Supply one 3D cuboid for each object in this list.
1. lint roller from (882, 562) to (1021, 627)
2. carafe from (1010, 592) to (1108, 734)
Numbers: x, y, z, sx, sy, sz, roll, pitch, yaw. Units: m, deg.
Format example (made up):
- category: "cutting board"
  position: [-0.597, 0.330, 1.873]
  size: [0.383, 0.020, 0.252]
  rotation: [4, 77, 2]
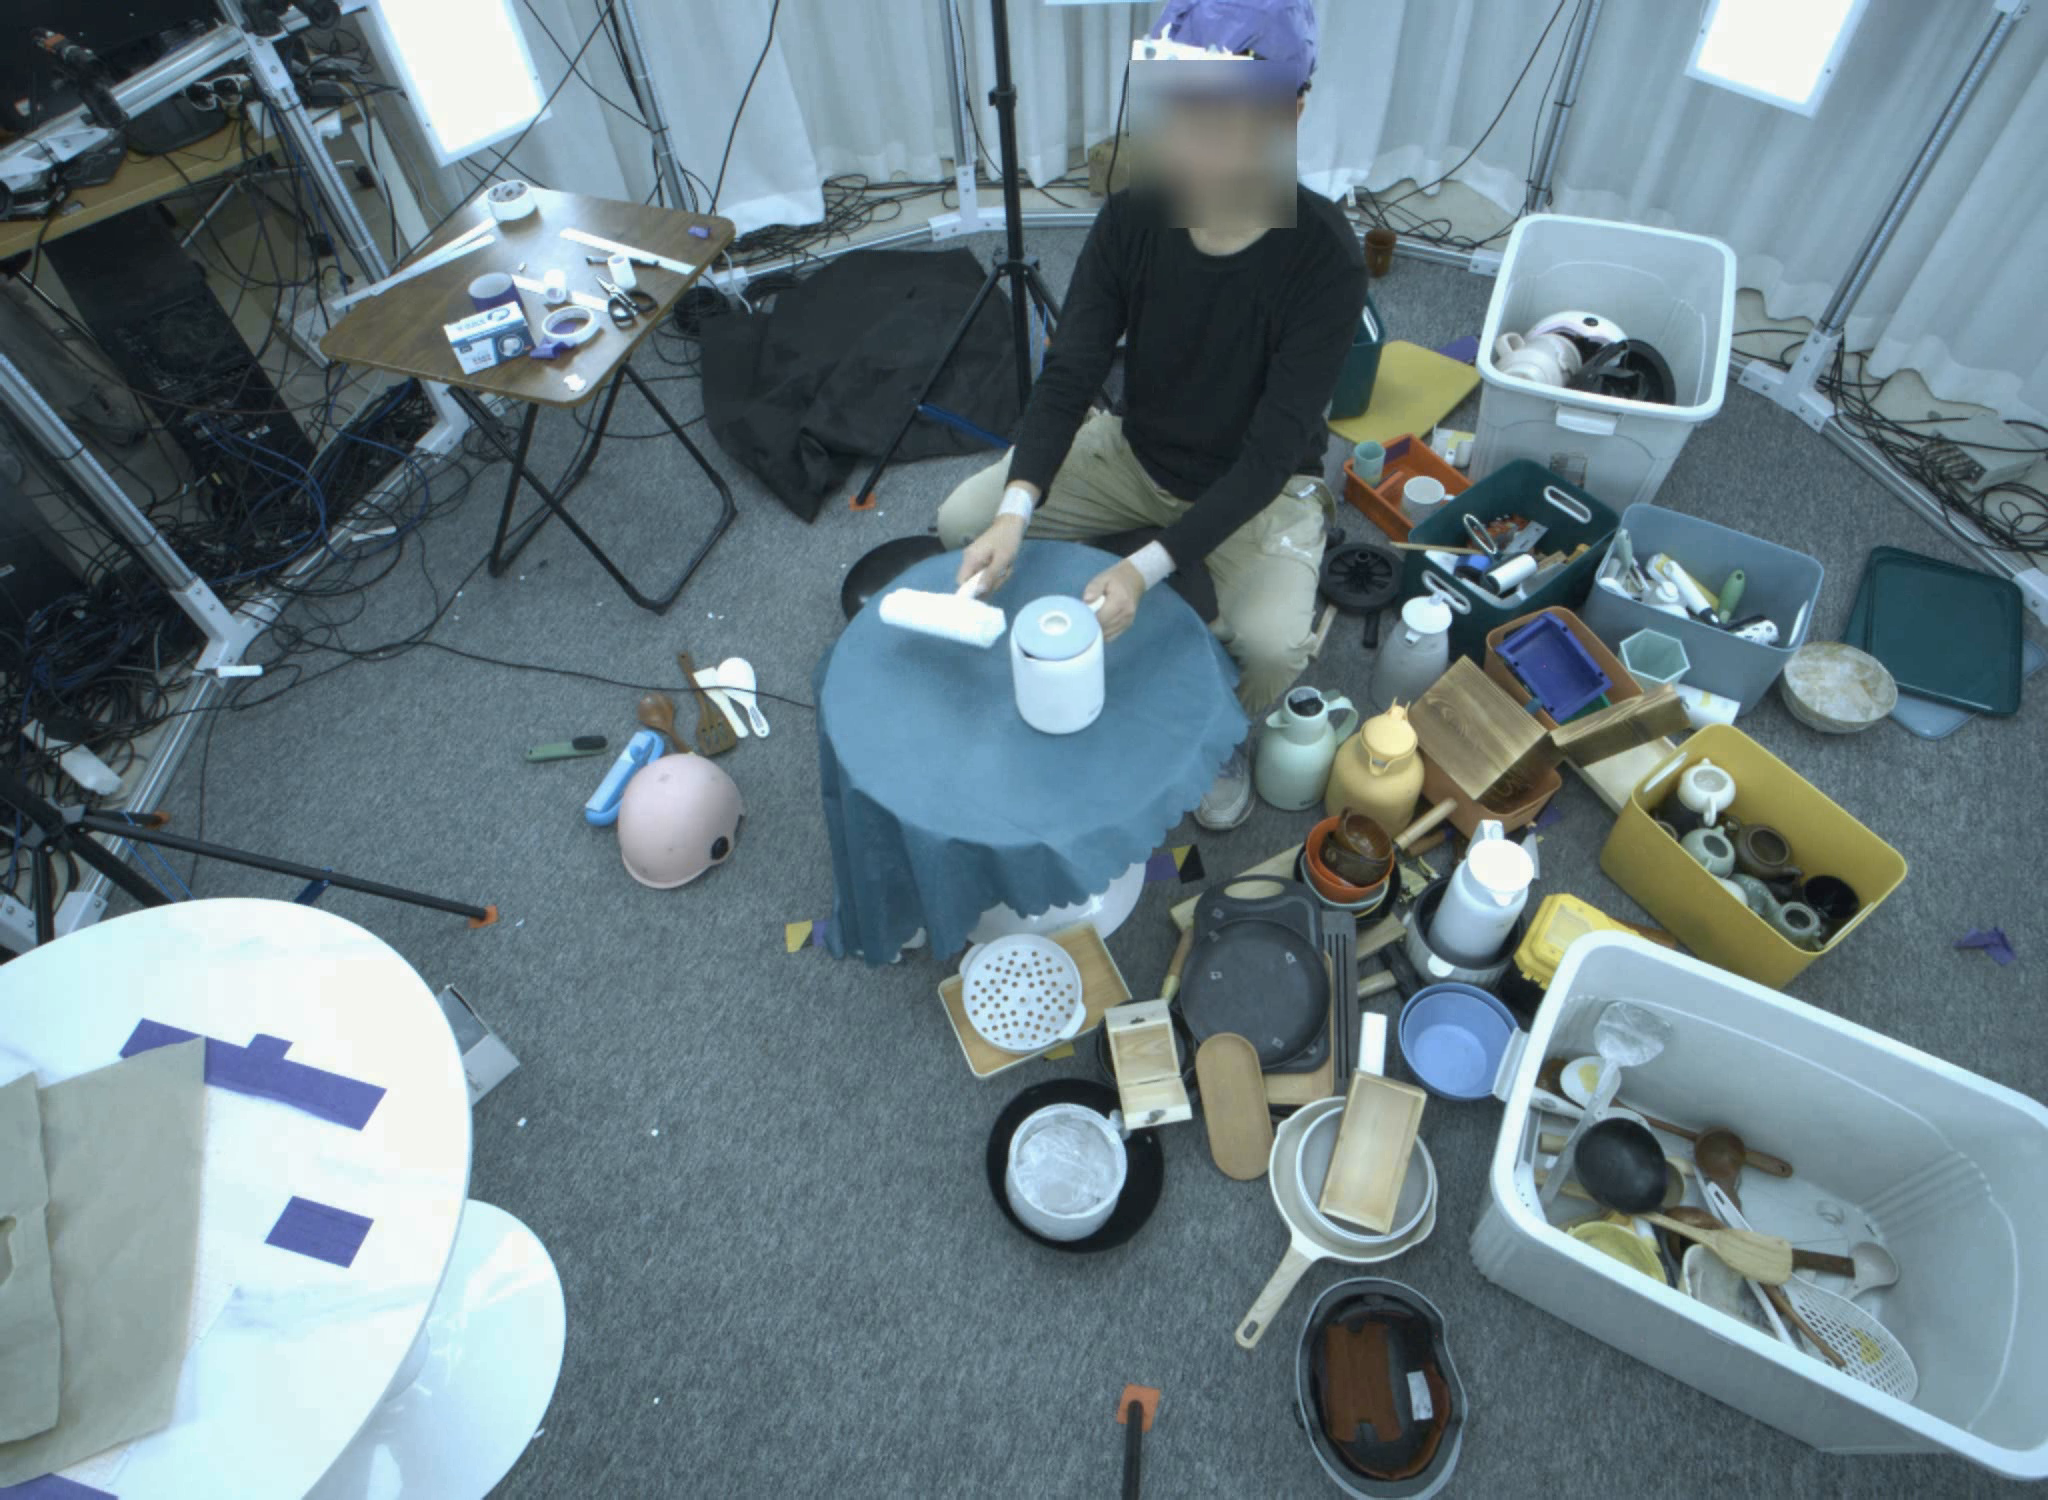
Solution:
- category: "lint roller"
  position: [-0.078, -0.249, 1.873]
  size: [0.198, 0.049, 0.228]
  rotation: [7, 32, 36]
- category: "carafe"
  position: [0.063, -0.138, 1.777]
  size: [0.130, 0.184, 0.192]
  rotation: [31, 60, 22]
